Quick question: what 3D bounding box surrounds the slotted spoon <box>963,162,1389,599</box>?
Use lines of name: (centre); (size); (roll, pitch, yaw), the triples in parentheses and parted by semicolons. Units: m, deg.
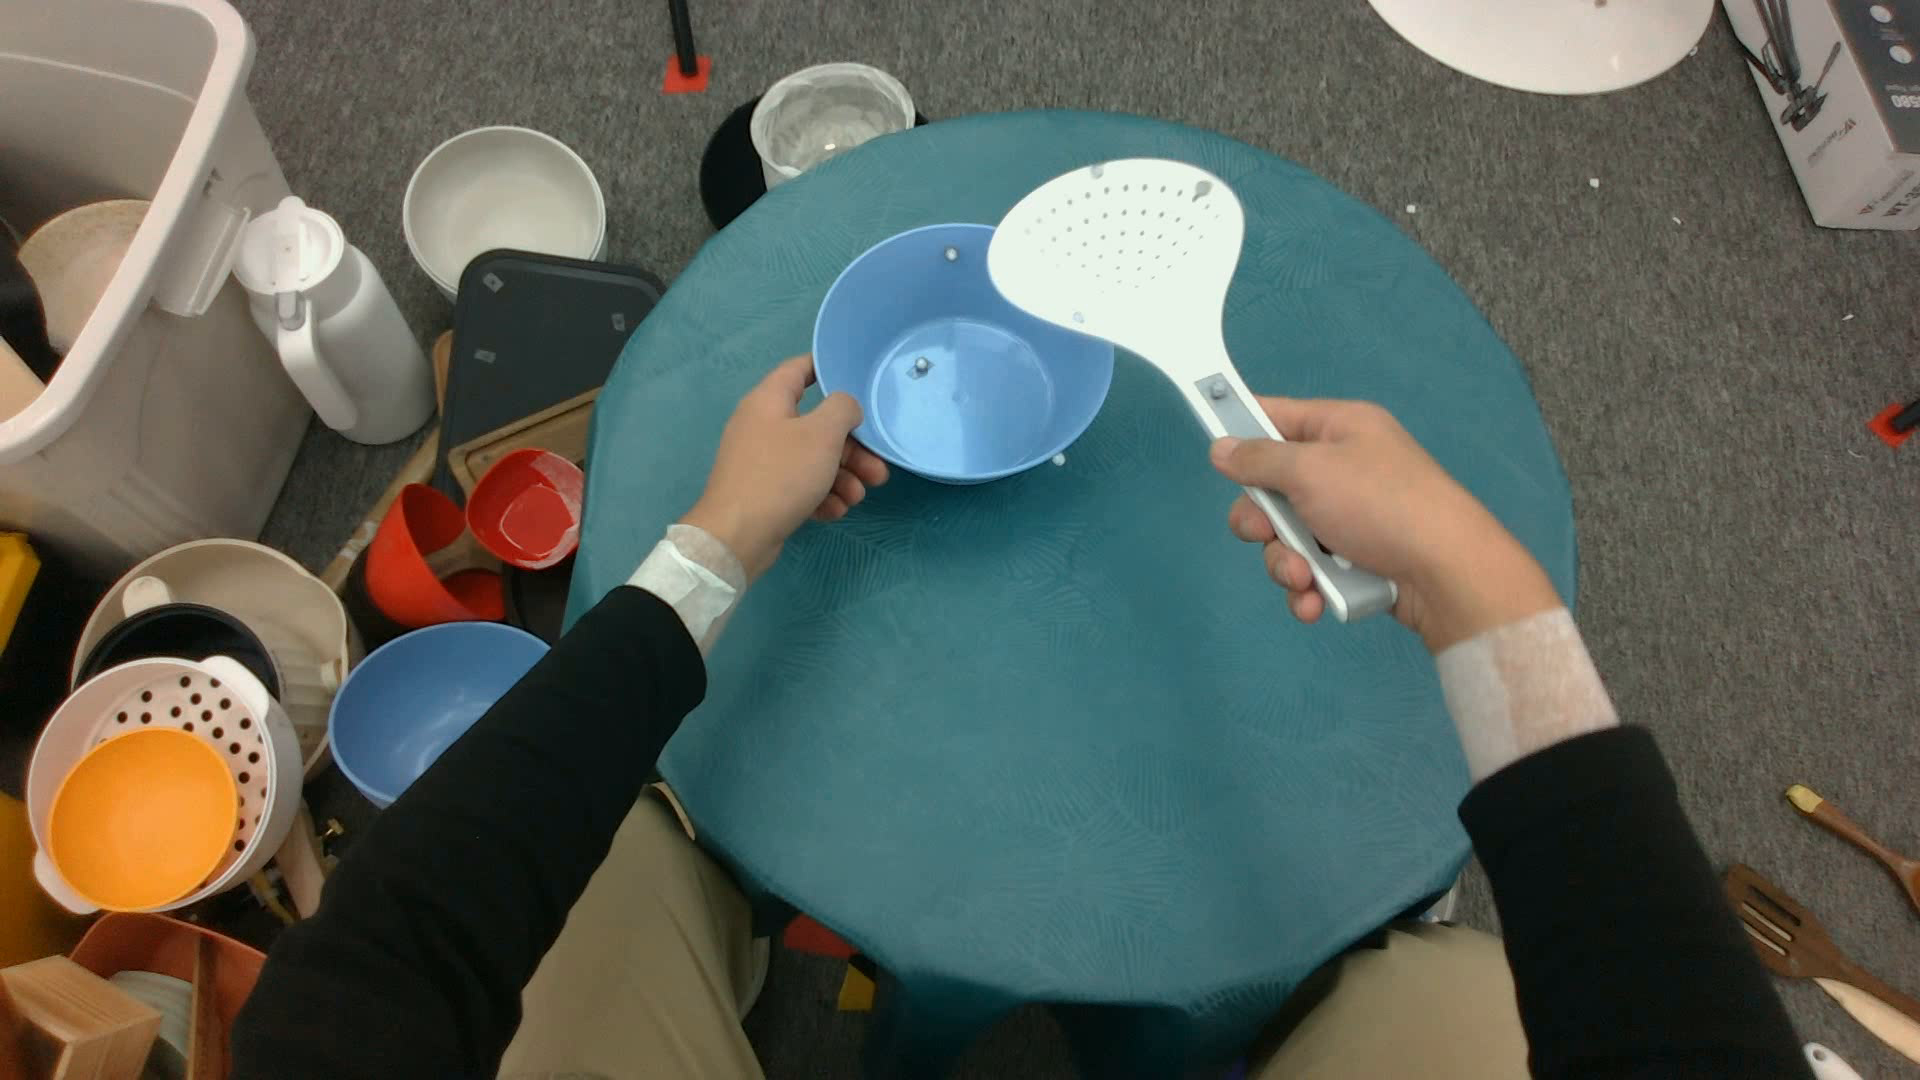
slotted spoon: (0.105, -0.093, 0.674); (0.136, 0.045, 0.350); (-23, 40, -5)

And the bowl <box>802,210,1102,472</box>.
bowl: (-0.005, -0.108, 0.828); (0.176, 0.070, 0.176); (1, 66, -2)
